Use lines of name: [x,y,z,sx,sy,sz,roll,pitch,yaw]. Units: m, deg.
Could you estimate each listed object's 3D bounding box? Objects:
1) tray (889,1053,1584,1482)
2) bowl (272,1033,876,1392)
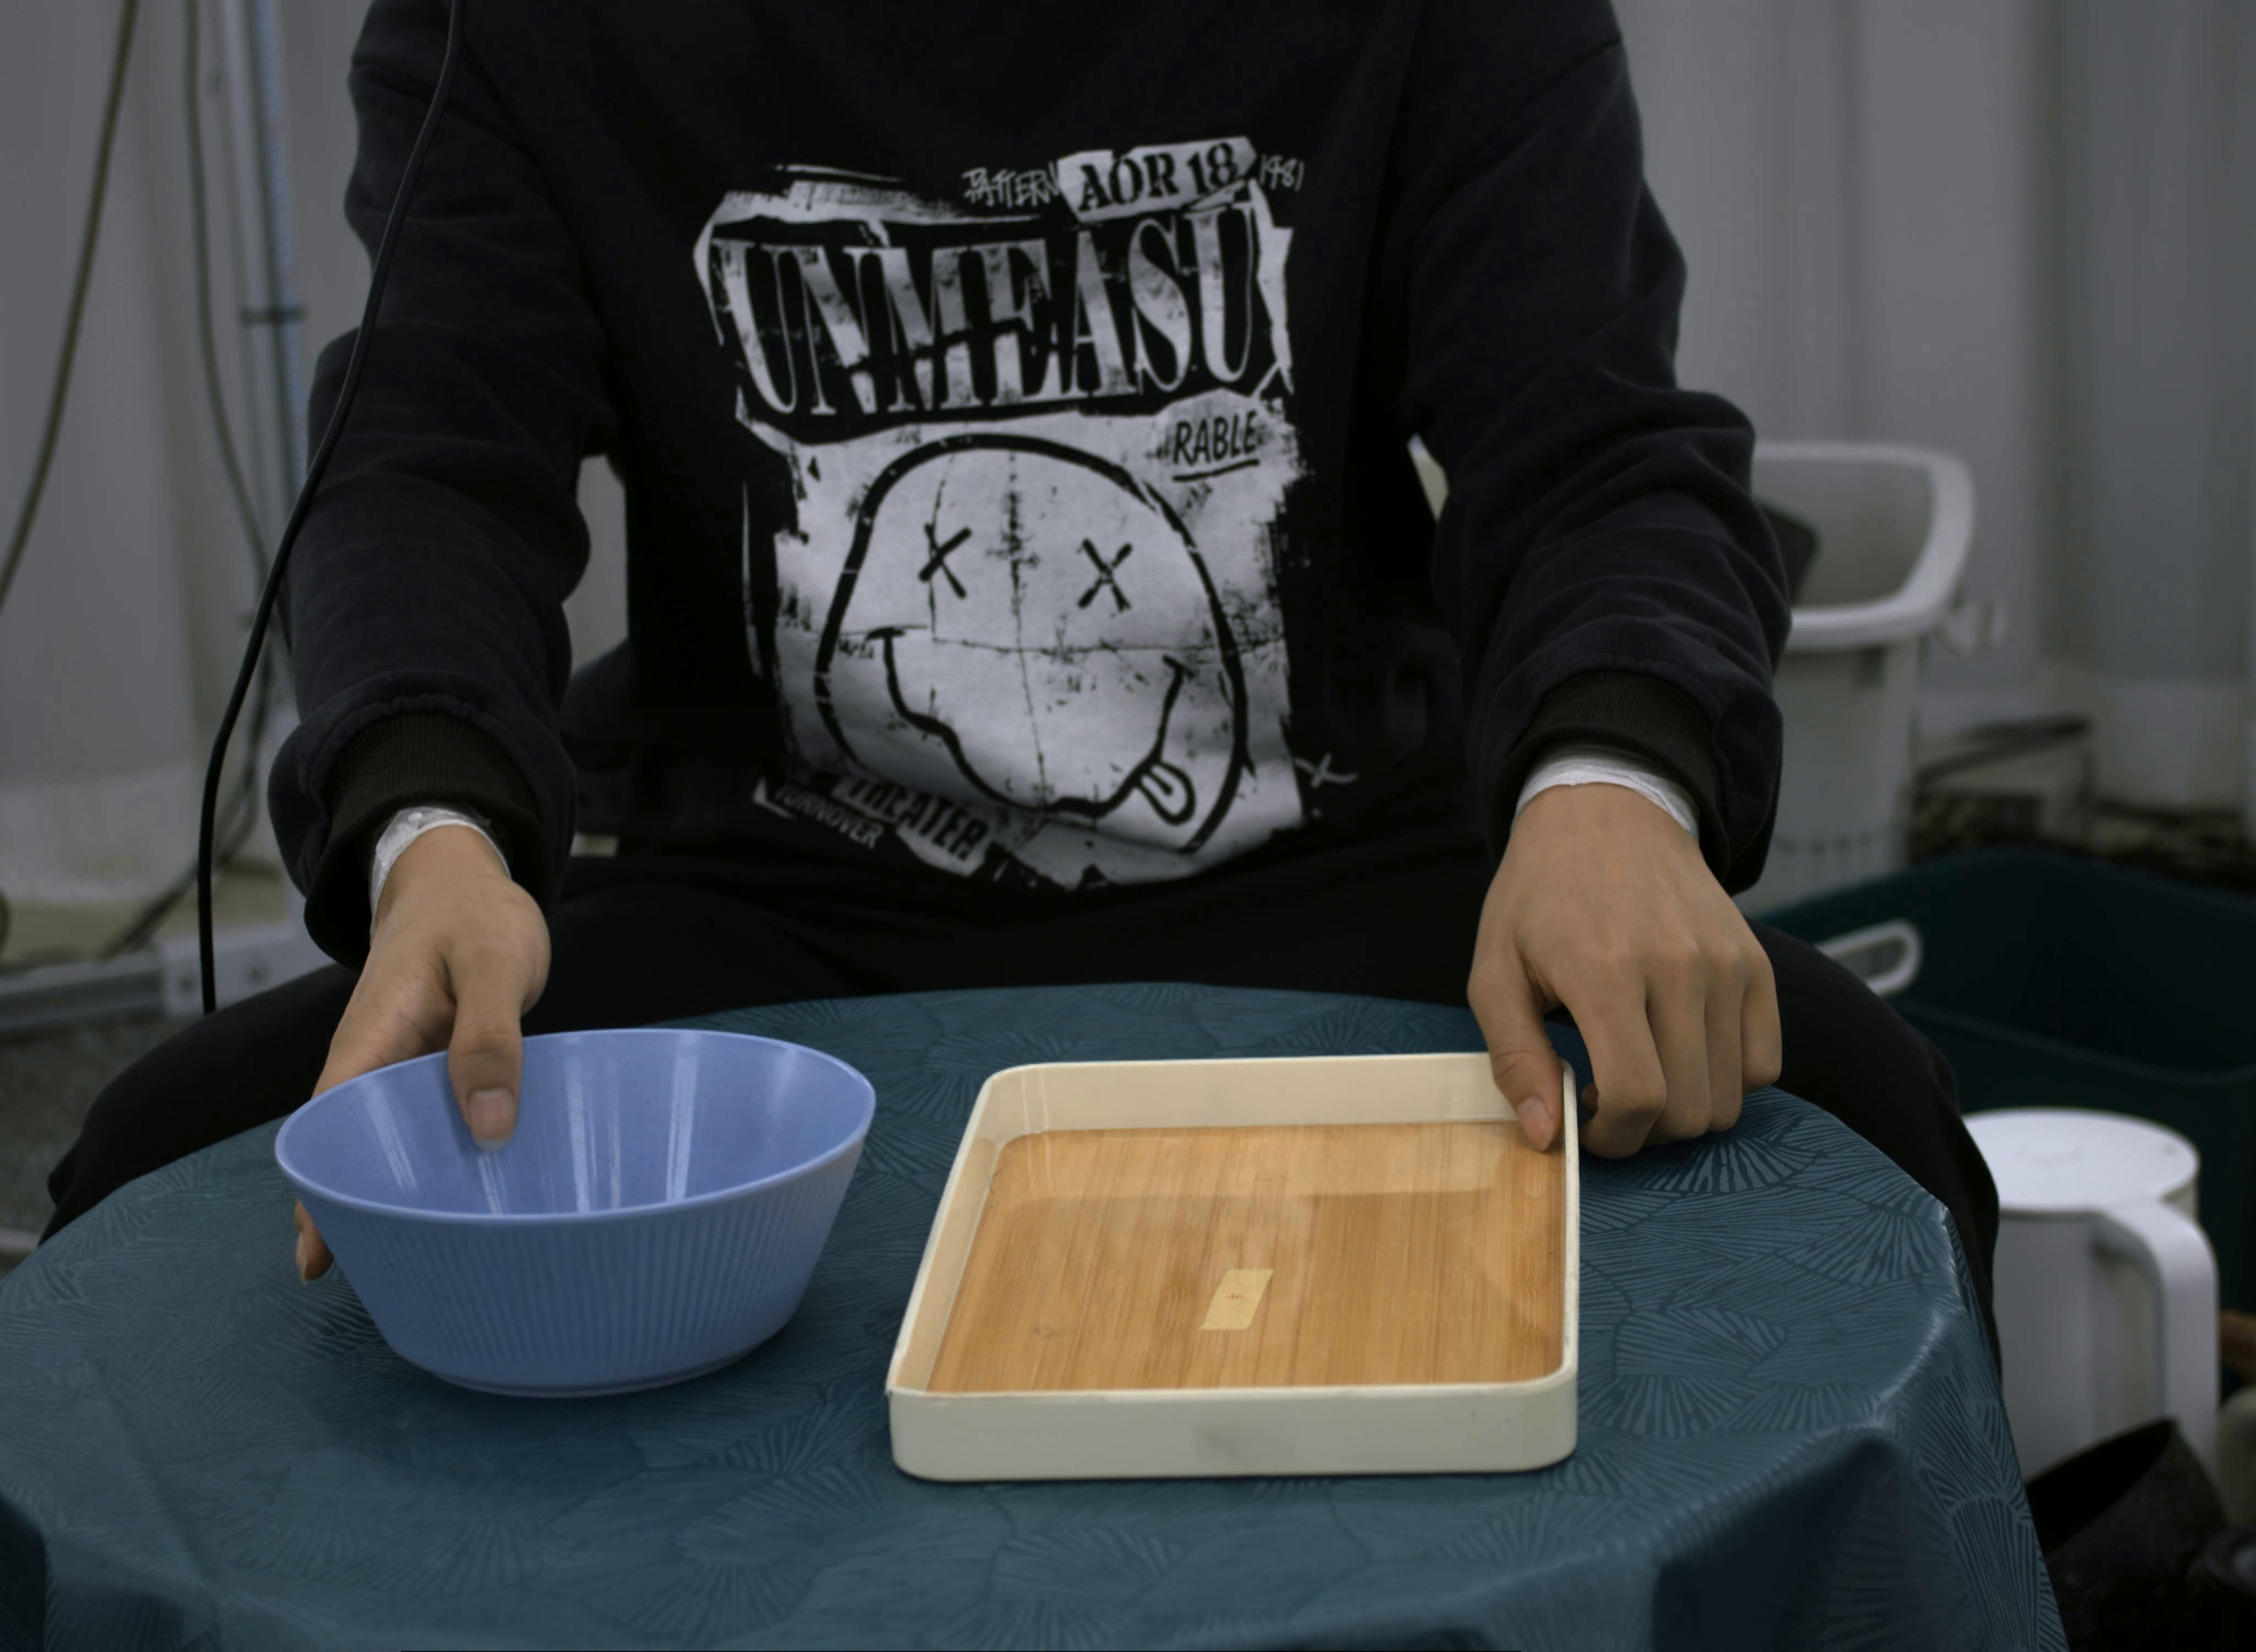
tray: [0.039,0.126,1.614,0.191,0.027,0.302,-1,15,5]
bowl: [-0.161,0.116,1.604,0.175,0.070,0.177,-1,15,0]
